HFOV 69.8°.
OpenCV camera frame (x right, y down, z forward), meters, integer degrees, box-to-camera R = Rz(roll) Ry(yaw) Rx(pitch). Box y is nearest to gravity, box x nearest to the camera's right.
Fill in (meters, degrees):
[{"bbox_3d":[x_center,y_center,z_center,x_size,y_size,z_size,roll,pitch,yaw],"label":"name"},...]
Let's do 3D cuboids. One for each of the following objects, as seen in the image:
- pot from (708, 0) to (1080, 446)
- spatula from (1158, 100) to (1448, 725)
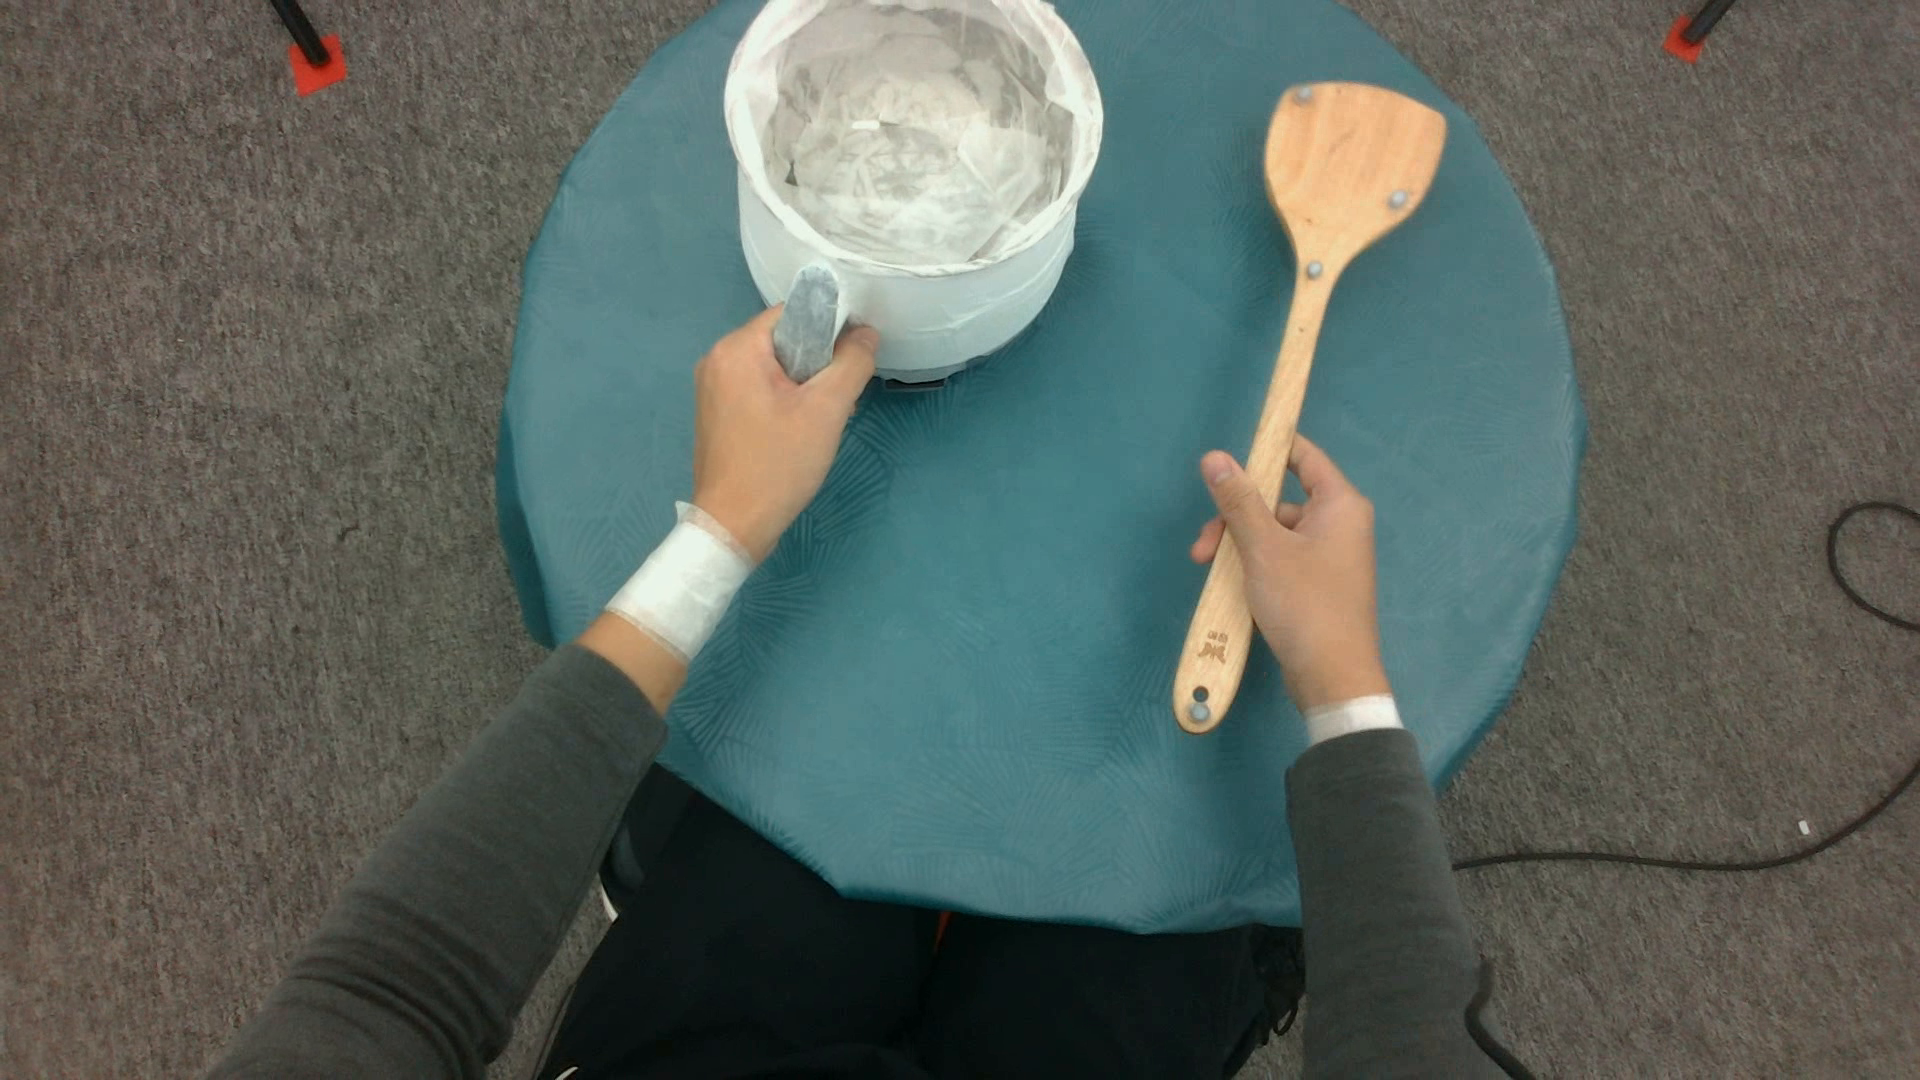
[{"bbox_3d":[-0.047,-0.163,0.702,0.179,0.136,0.234,23,70,3],"label":"pot"},{"bbox_3d":[0.174,-0.082,0.731,0.096,0.018,0.392,14,67,18],"label":"spatula"}]
